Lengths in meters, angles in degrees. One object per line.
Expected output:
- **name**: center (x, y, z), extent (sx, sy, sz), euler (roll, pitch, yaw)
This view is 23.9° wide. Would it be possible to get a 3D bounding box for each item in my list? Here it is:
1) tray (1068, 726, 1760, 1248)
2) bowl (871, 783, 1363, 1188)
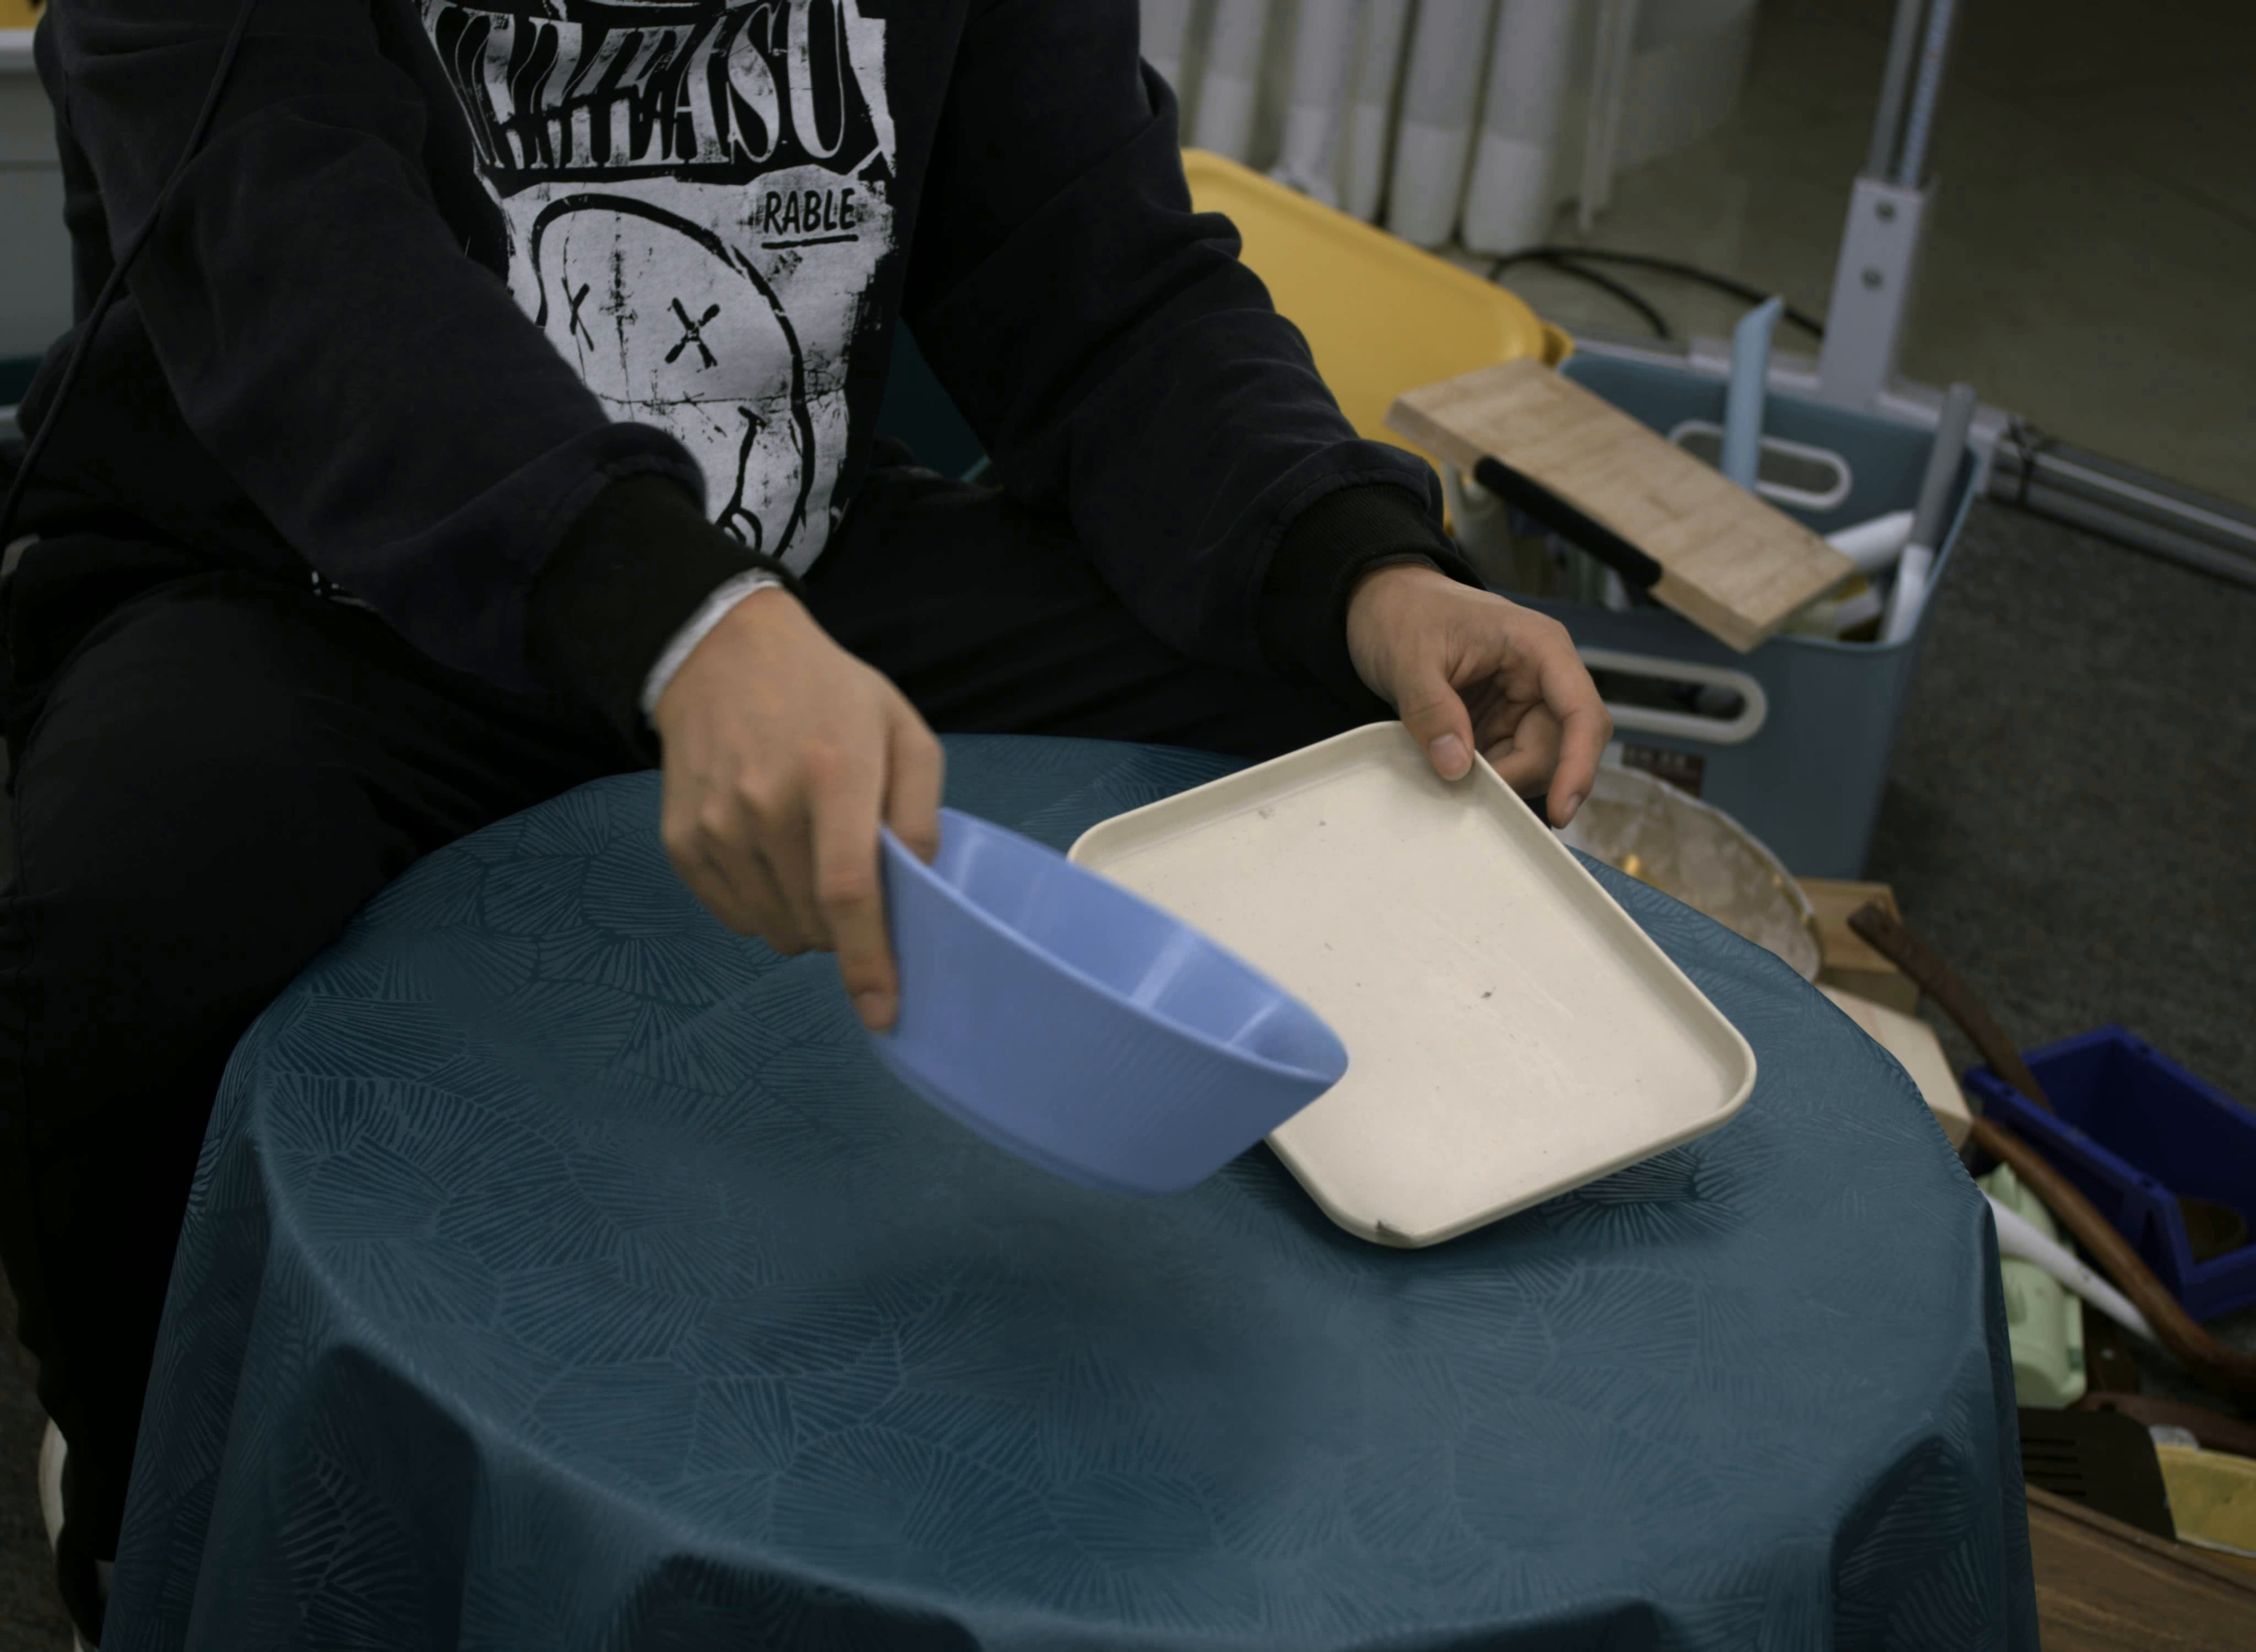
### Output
- **tray**: center (0.097, 0.055, 1.877), extent (0.170, 0.017, 0.242), euler (-19, 44, -22)
- **bowl**: center (-0.016, 0.059, 1.711), extent (0.175, 0.070, 0.176), euler (29, 10, -6)
